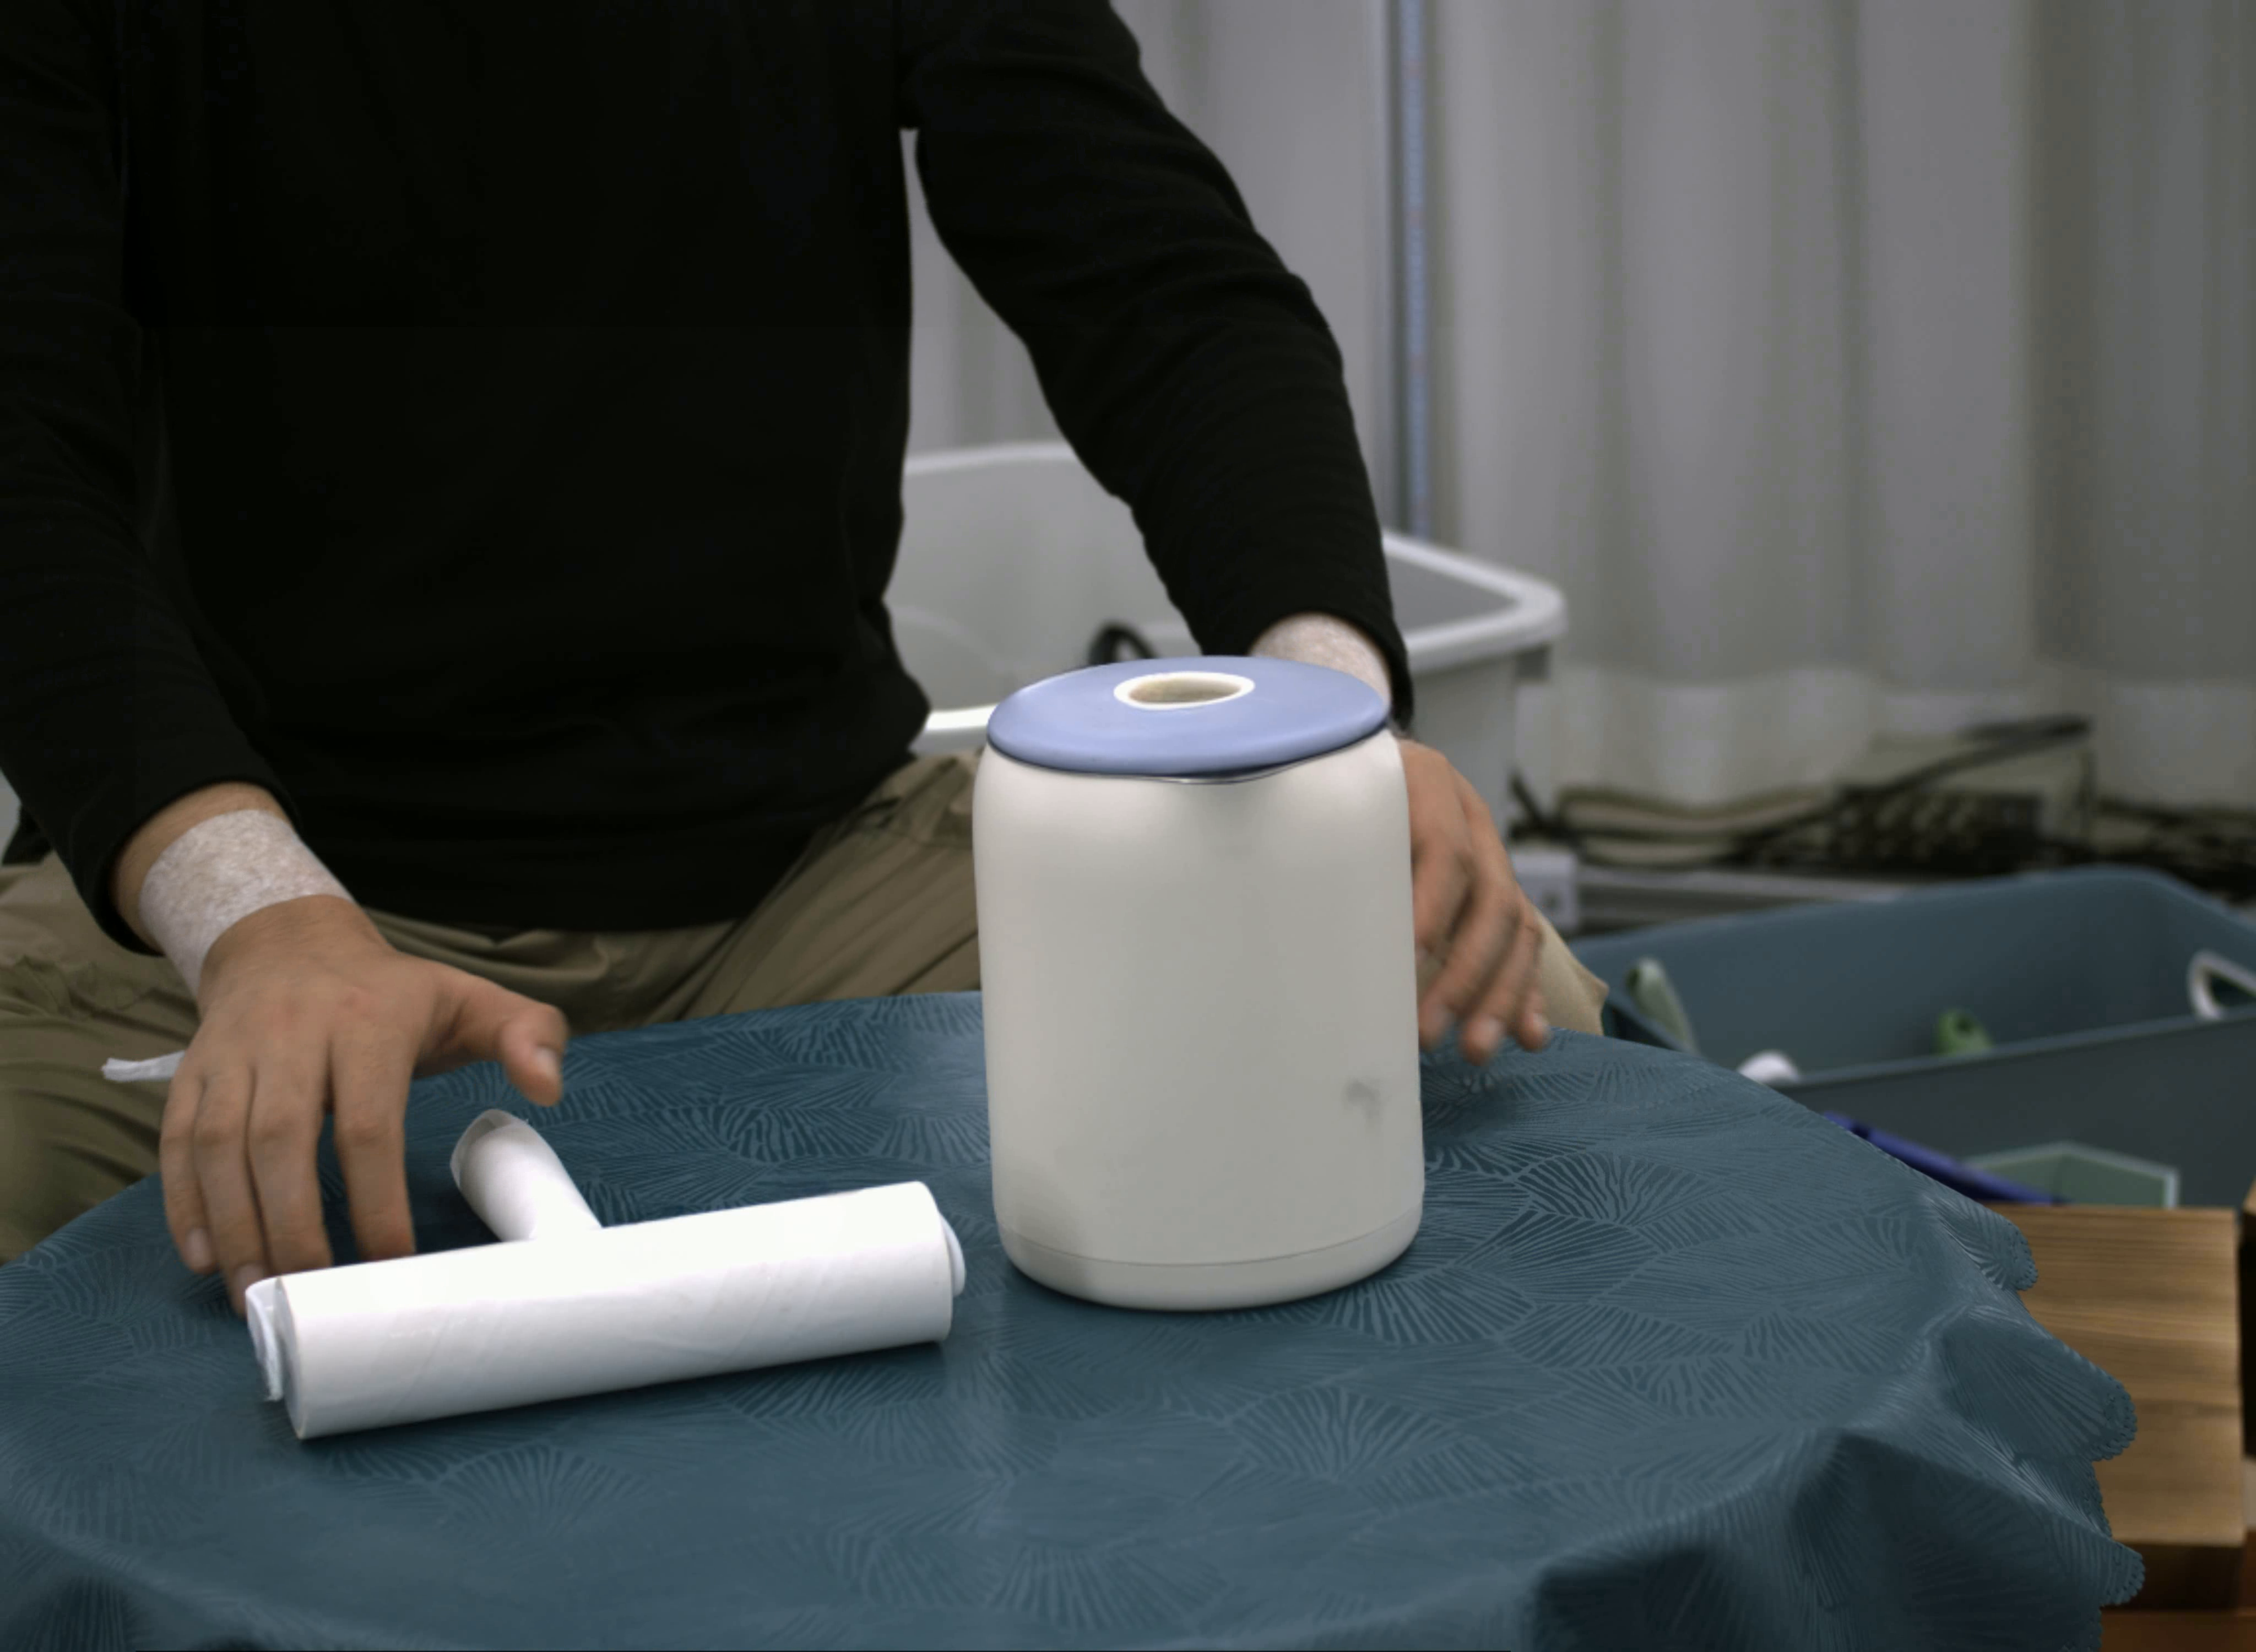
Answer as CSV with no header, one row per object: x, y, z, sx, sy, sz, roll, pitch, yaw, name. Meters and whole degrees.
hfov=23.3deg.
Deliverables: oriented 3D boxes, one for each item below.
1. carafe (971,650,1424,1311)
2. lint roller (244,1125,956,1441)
0.015,0.039,1.662,0.131,0.182,0.192,-5,12,-12,carafe
-0.175,0.119,1.649,0.202,0.048,0.227,-9,15,-17,lint roller
